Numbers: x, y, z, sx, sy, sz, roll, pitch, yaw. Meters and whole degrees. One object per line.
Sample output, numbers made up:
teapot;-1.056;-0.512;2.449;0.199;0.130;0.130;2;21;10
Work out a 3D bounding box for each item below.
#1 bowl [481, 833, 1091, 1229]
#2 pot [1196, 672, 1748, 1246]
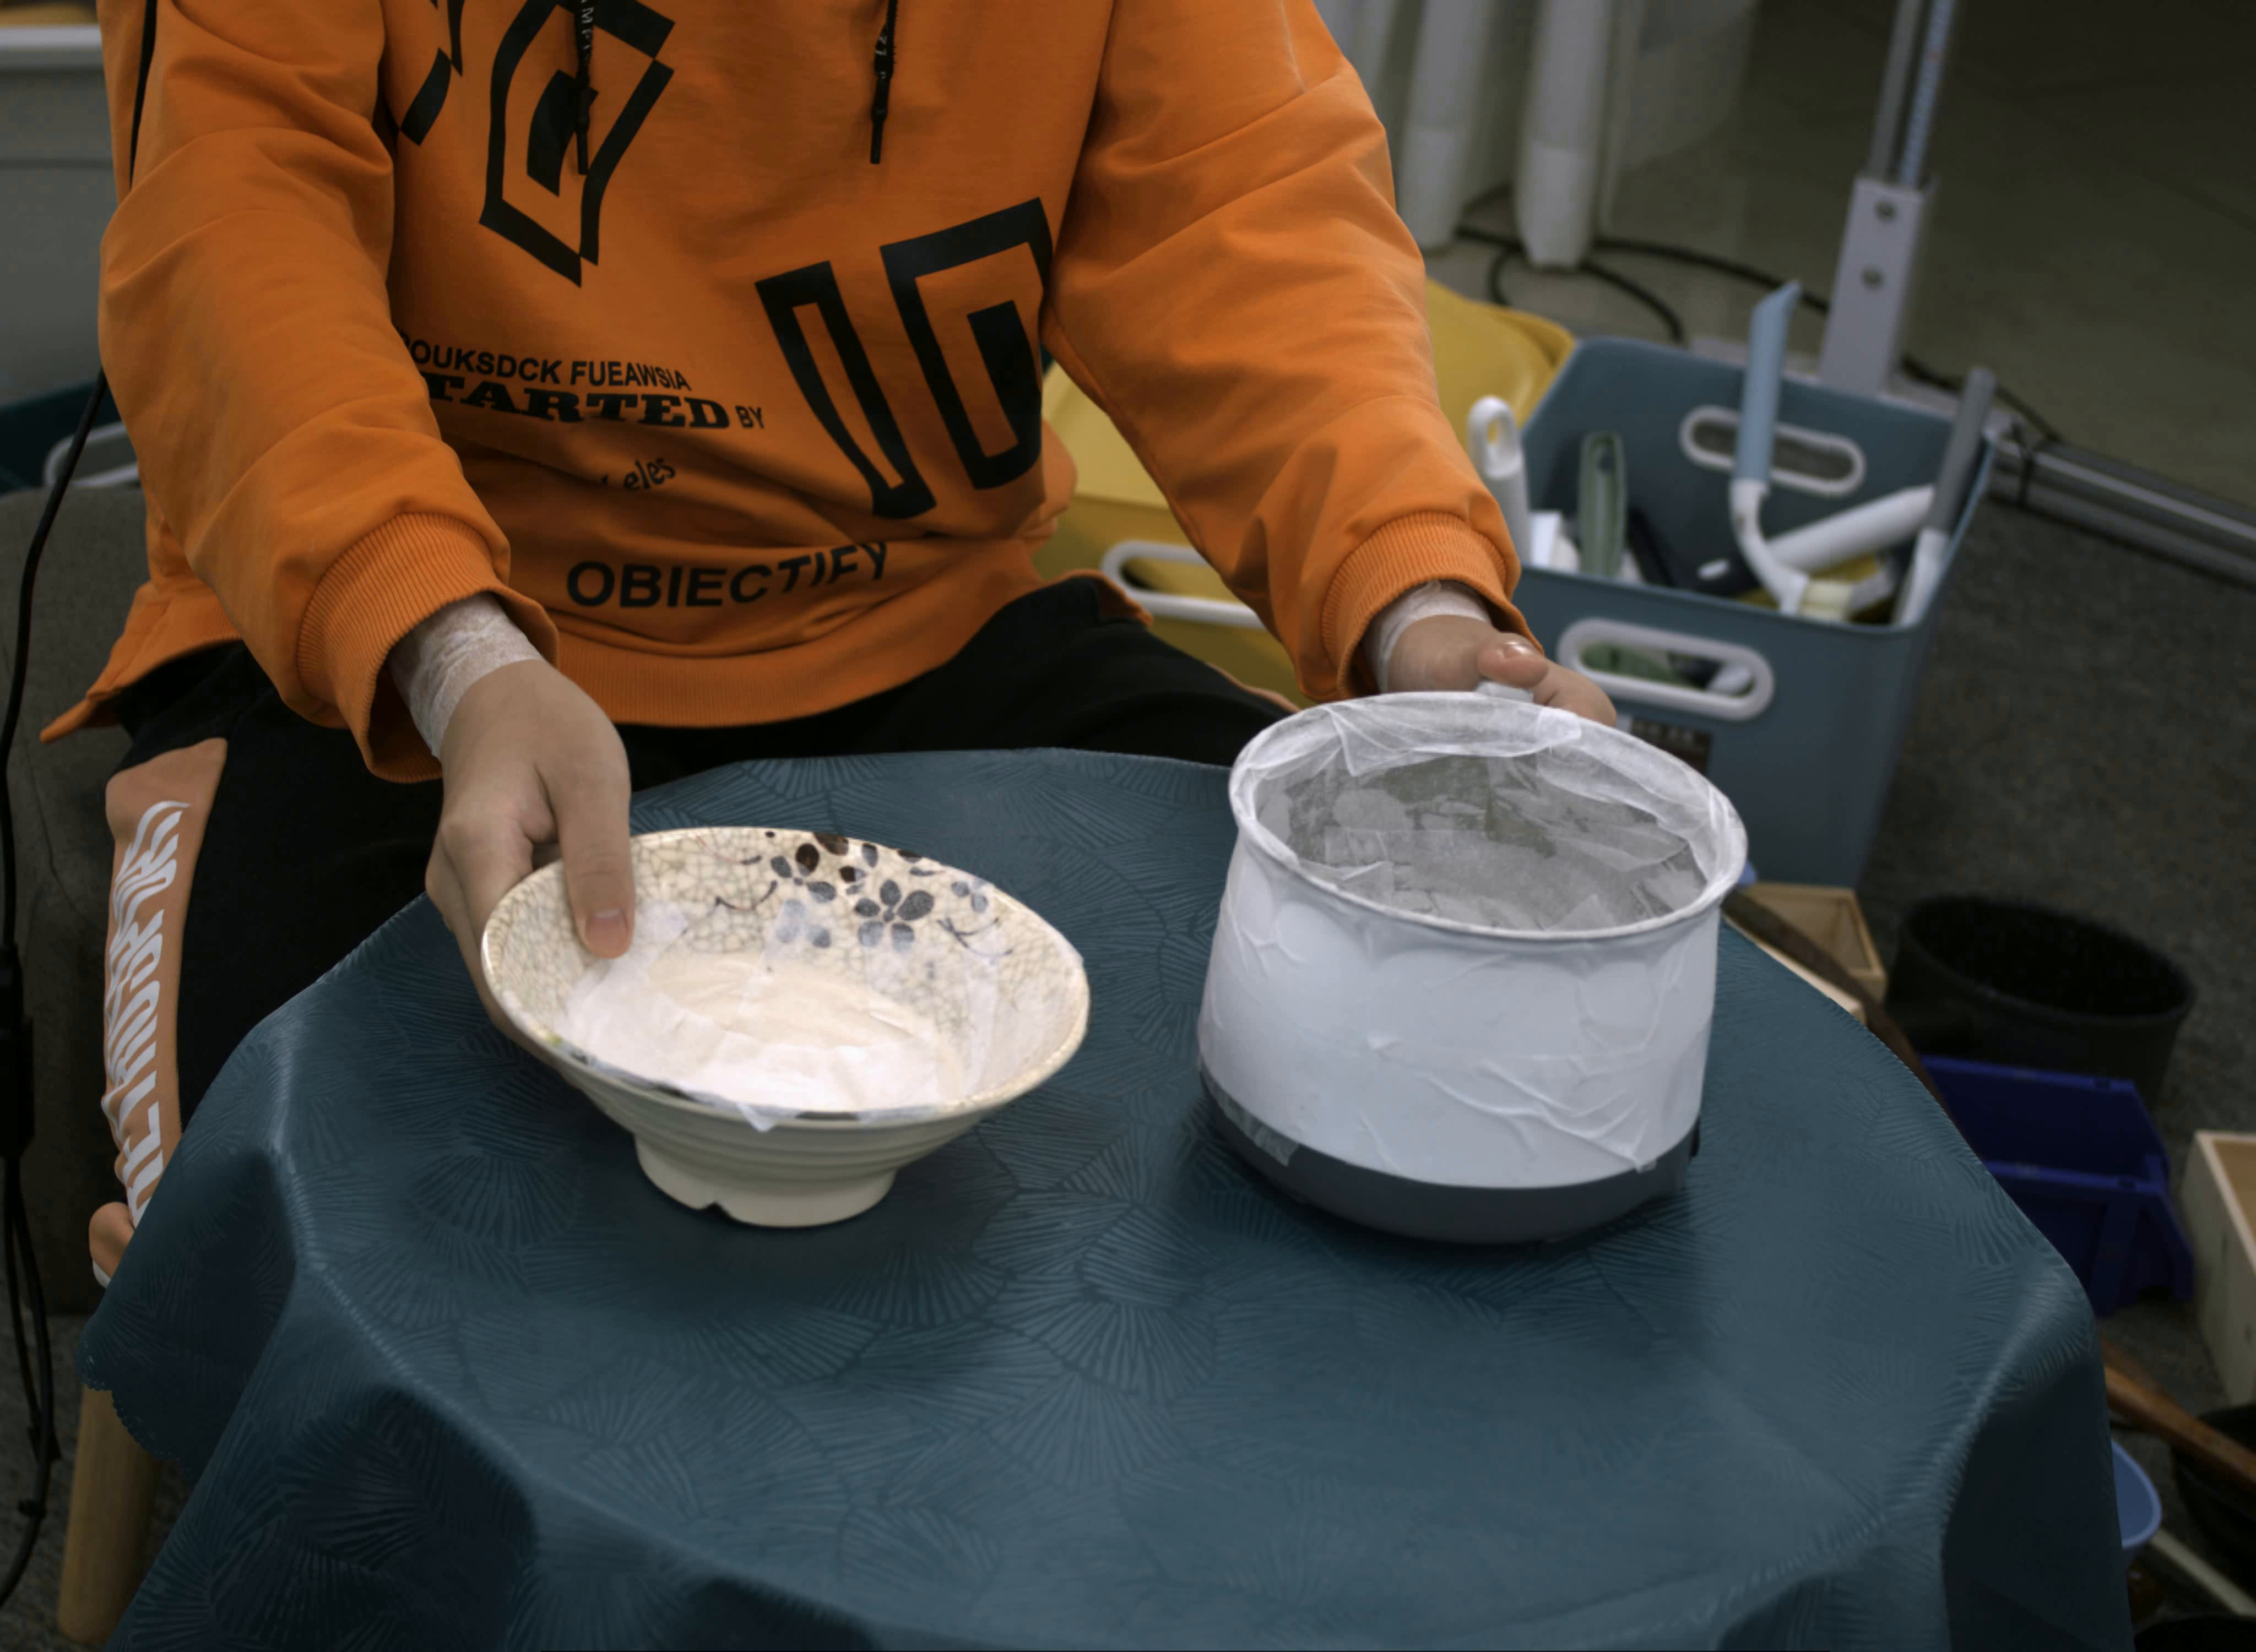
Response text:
bowl;-0.117;0.080;1.775;0.203;0.078;0.205;6;24;-3
pot;0.117;0.038;1.846;0.178;0.136;0.235;8;27;2
